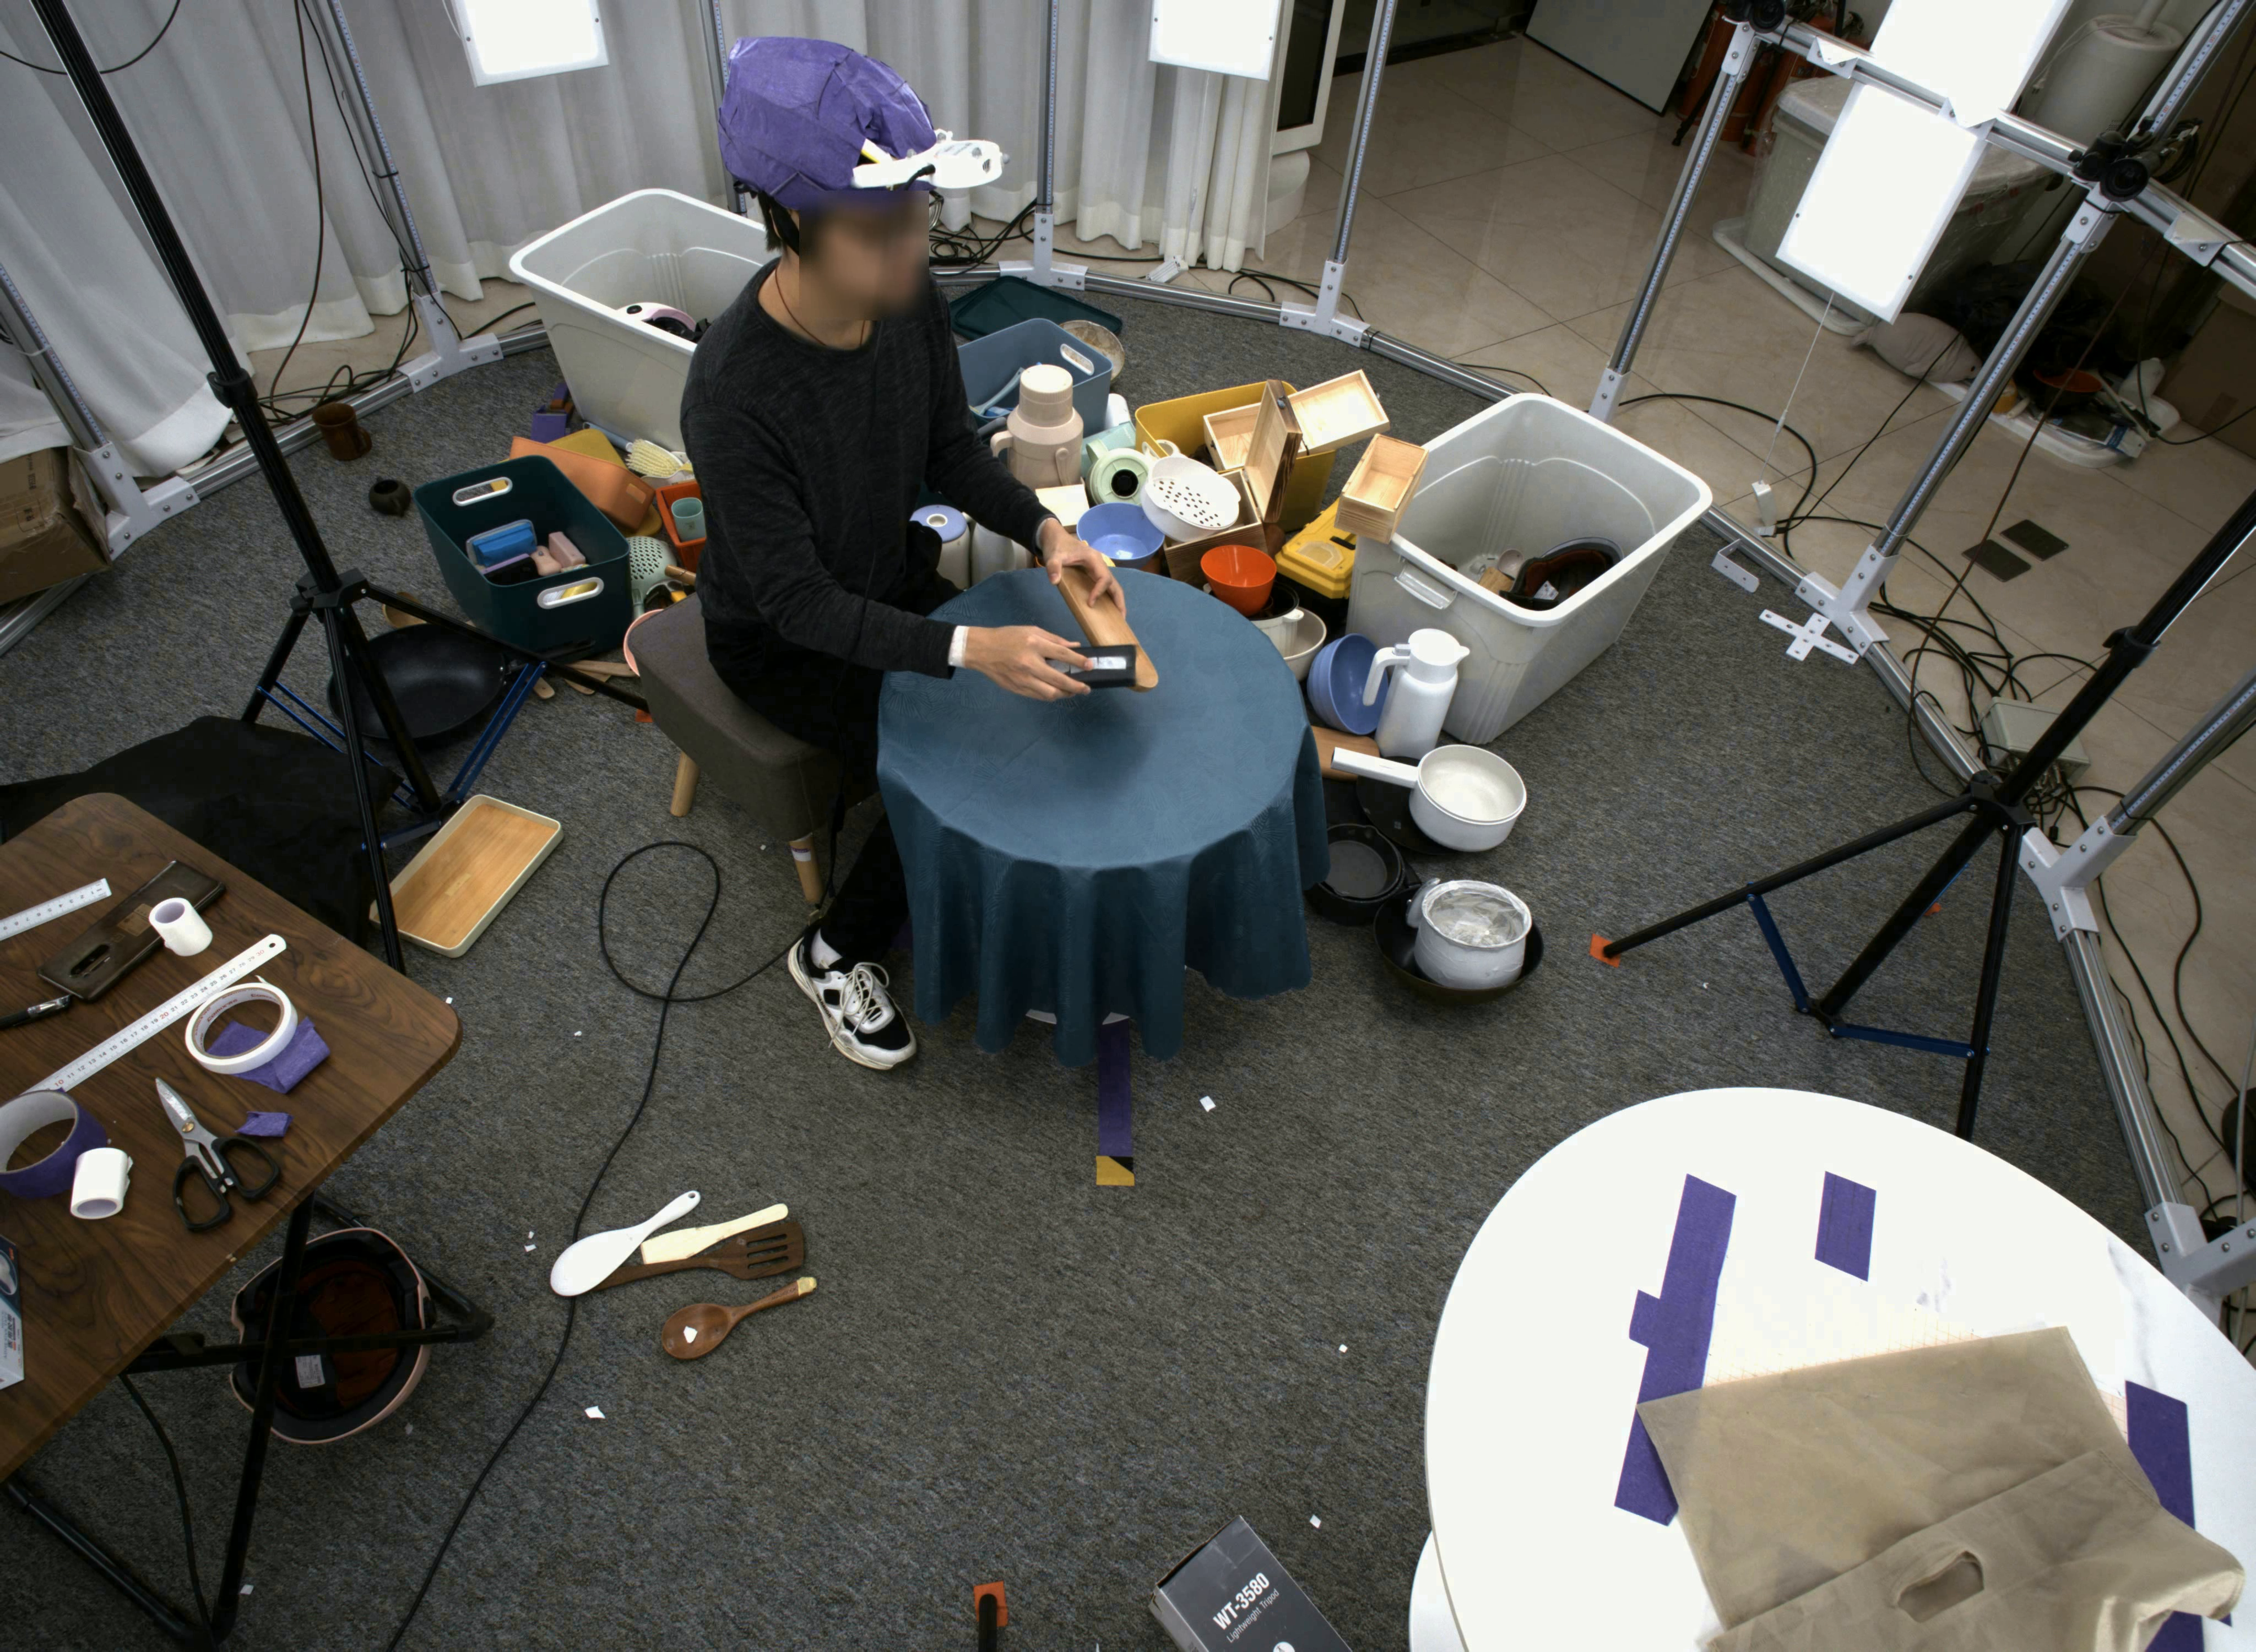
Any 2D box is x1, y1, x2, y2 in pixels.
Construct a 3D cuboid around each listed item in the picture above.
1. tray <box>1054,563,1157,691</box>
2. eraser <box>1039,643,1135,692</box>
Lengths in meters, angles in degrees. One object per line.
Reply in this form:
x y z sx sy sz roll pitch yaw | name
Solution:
-0.032 -0.275 1.770 0.101 0.020 0.236 8 44 -49 | tray
-0.053 -0.208 1.679 0.125 0.030 0.054 -4 73 5 | eraser
